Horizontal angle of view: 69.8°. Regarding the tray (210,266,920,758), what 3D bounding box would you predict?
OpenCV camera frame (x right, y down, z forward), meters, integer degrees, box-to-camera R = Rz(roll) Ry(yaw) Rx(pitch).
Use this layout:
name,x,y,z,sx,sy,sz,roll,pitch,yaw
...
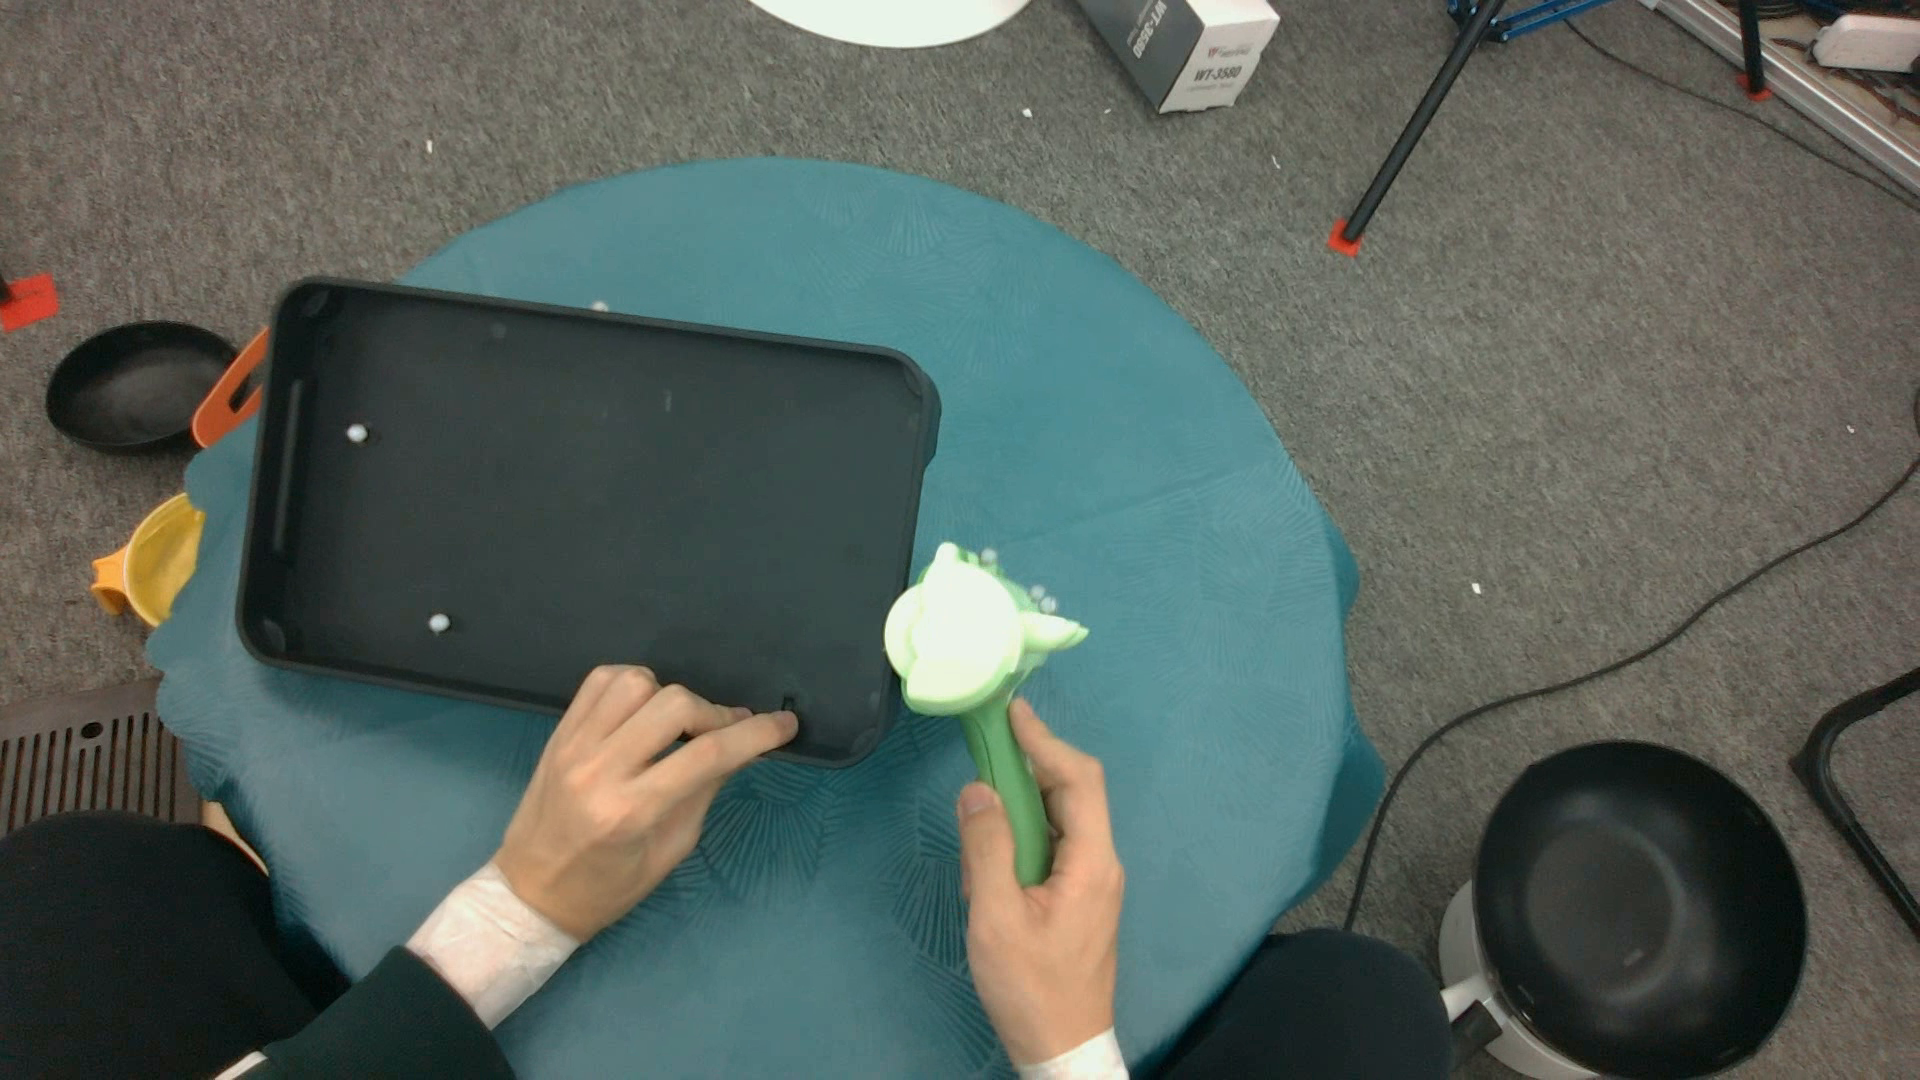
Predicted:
name,x,y,z,sx,sy,sz,roll,pitch,yaw
tray,-0.182,-0.017,0.626,0.318,0.037,0.184,8,92,10

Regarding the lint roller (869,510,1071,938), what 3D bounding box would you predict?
name,x,y,z,sx,sy,sz,roll,pitch,yaw
lint roller,0.025,0.079,0.618,0.082,0.198,0.183,-21,84,5
